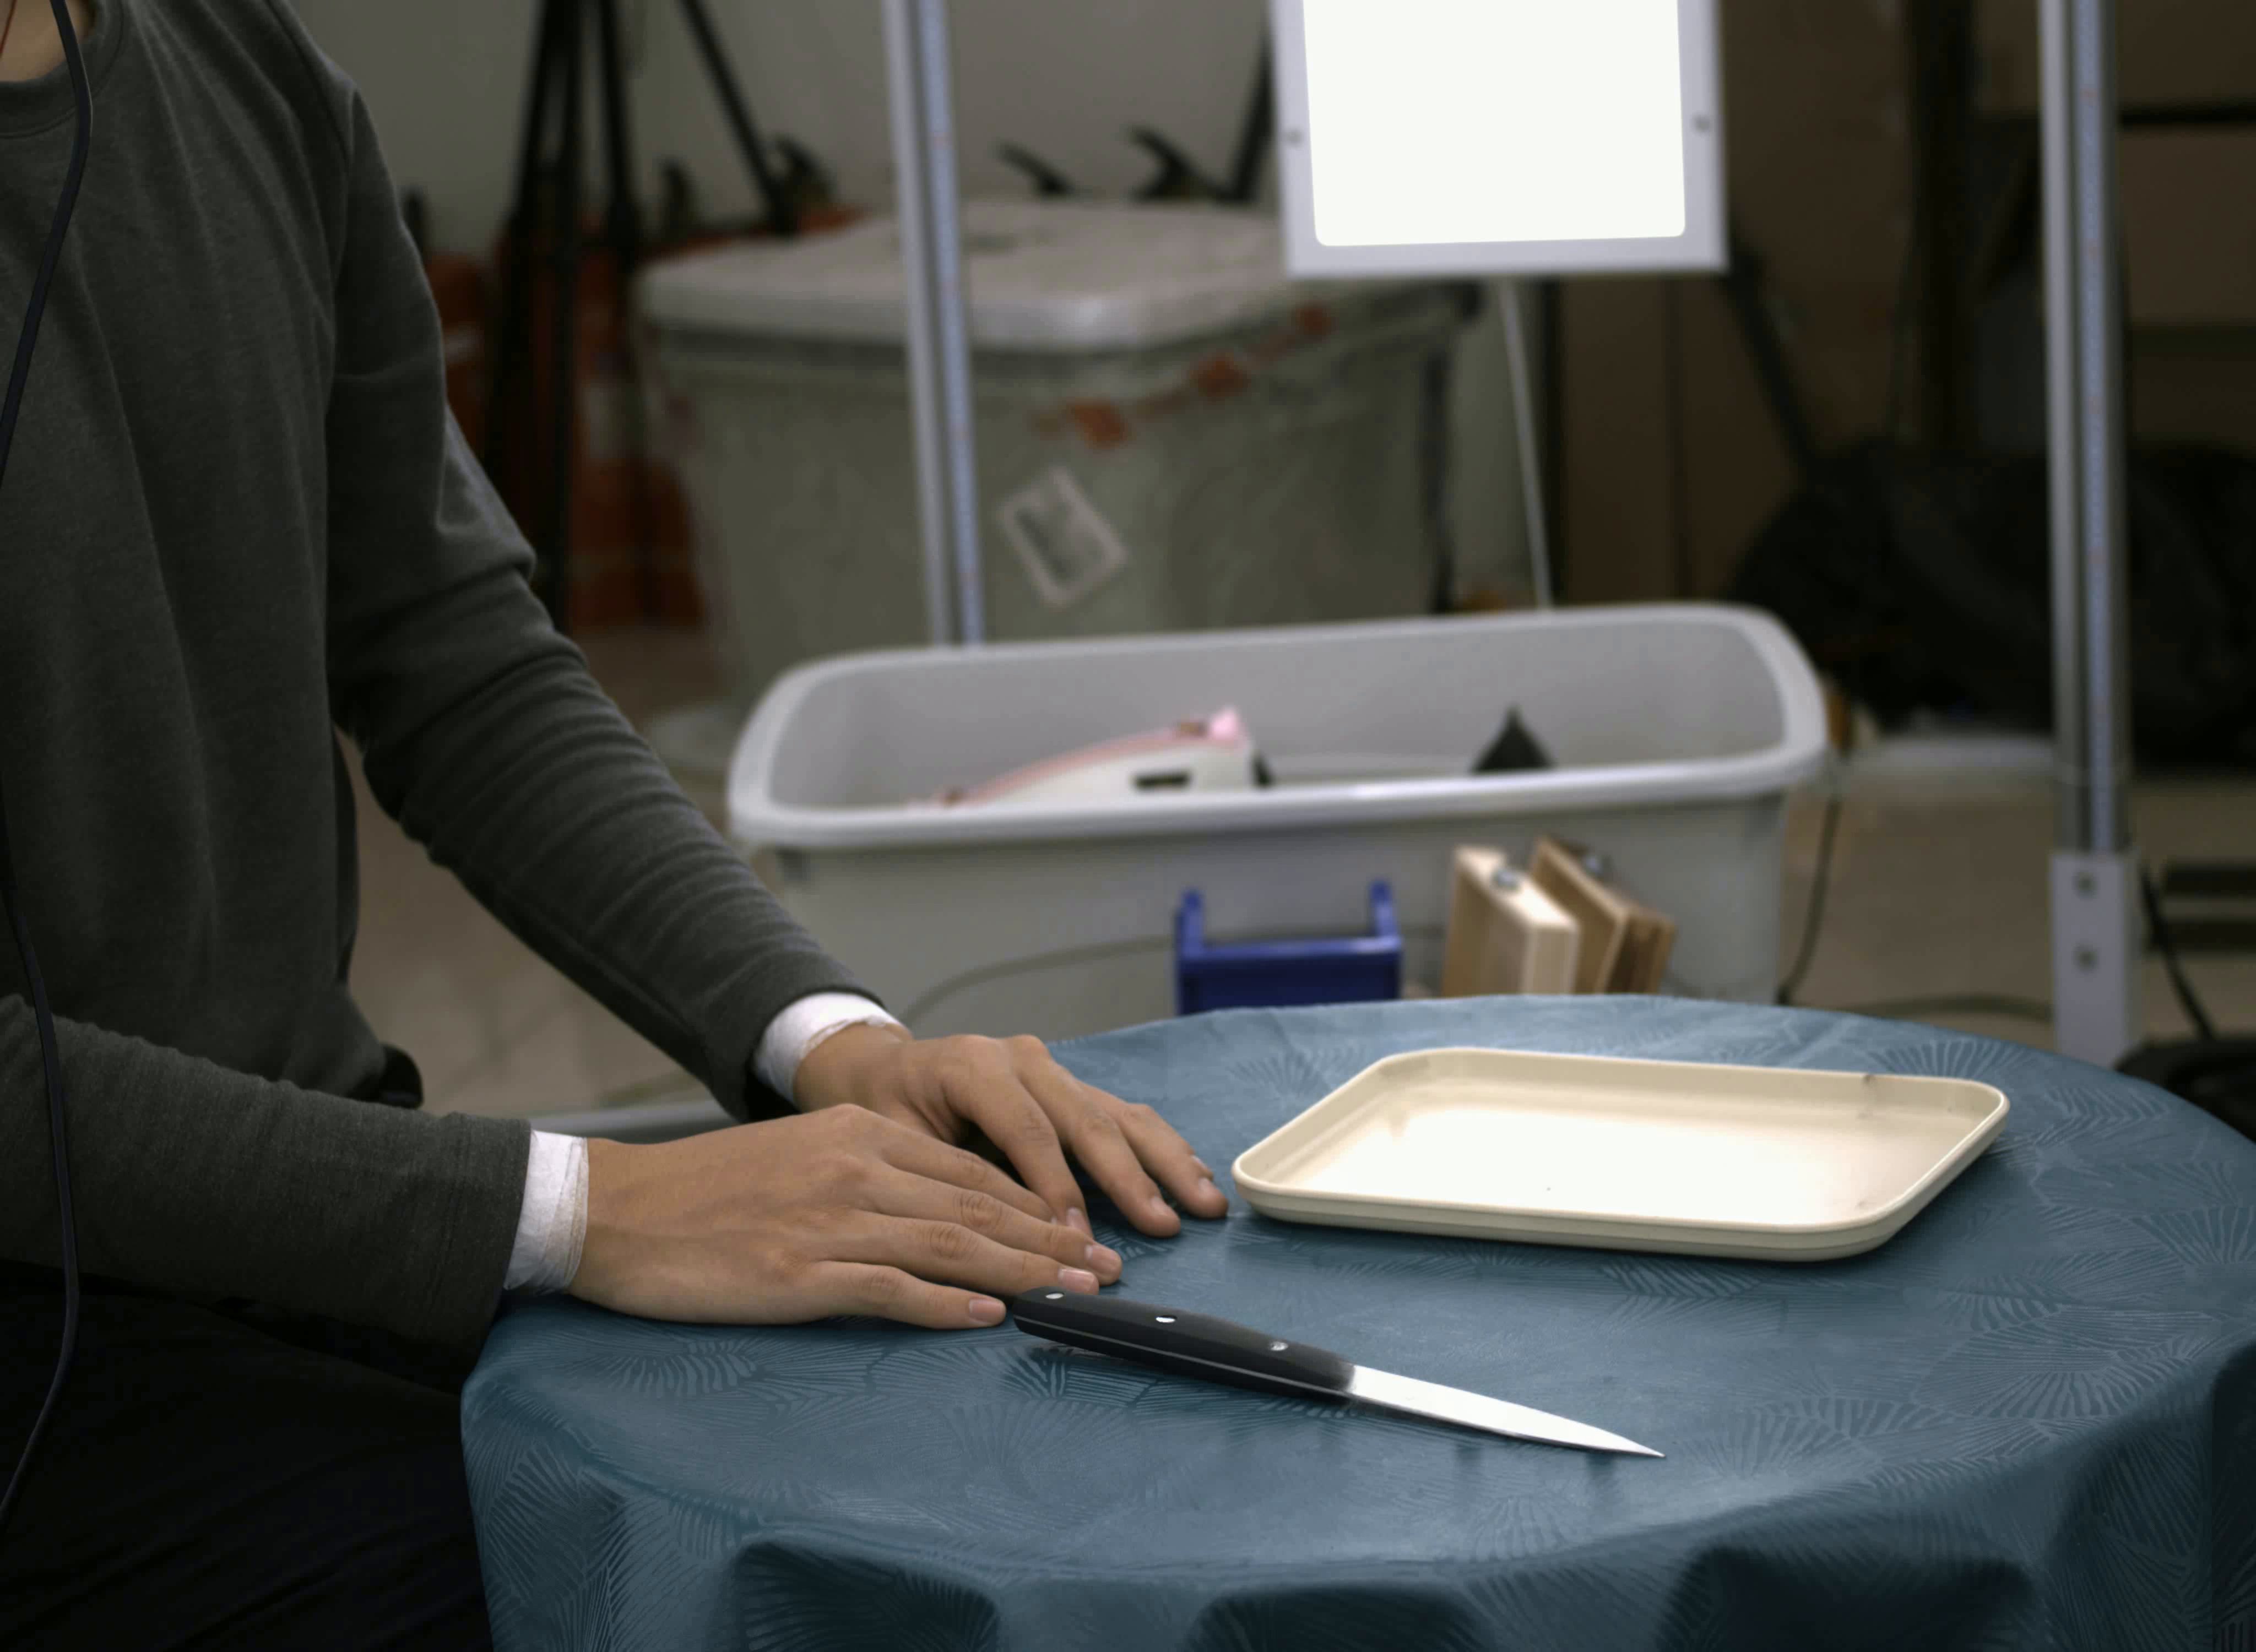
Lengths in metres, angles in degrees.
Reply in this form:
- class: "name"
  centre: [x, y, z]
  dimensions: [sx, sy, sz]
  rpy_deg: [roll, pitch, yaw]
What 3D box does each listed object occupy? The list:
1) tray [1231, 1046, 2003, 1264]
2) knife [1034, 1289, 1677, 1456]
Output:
- class: "tray"
  centre: [0.168, 0.111, 1.866]
  dimensions: [0.244, 0.017, 0.167]
  rpy_deg: [2, 16, 29]
- class: "knife"
  centre: [0.064, 0.169, 1.680]
  dimensions: [0.243, 0.016, 0.024]
  rpy_deg: [9, 21, 37]
